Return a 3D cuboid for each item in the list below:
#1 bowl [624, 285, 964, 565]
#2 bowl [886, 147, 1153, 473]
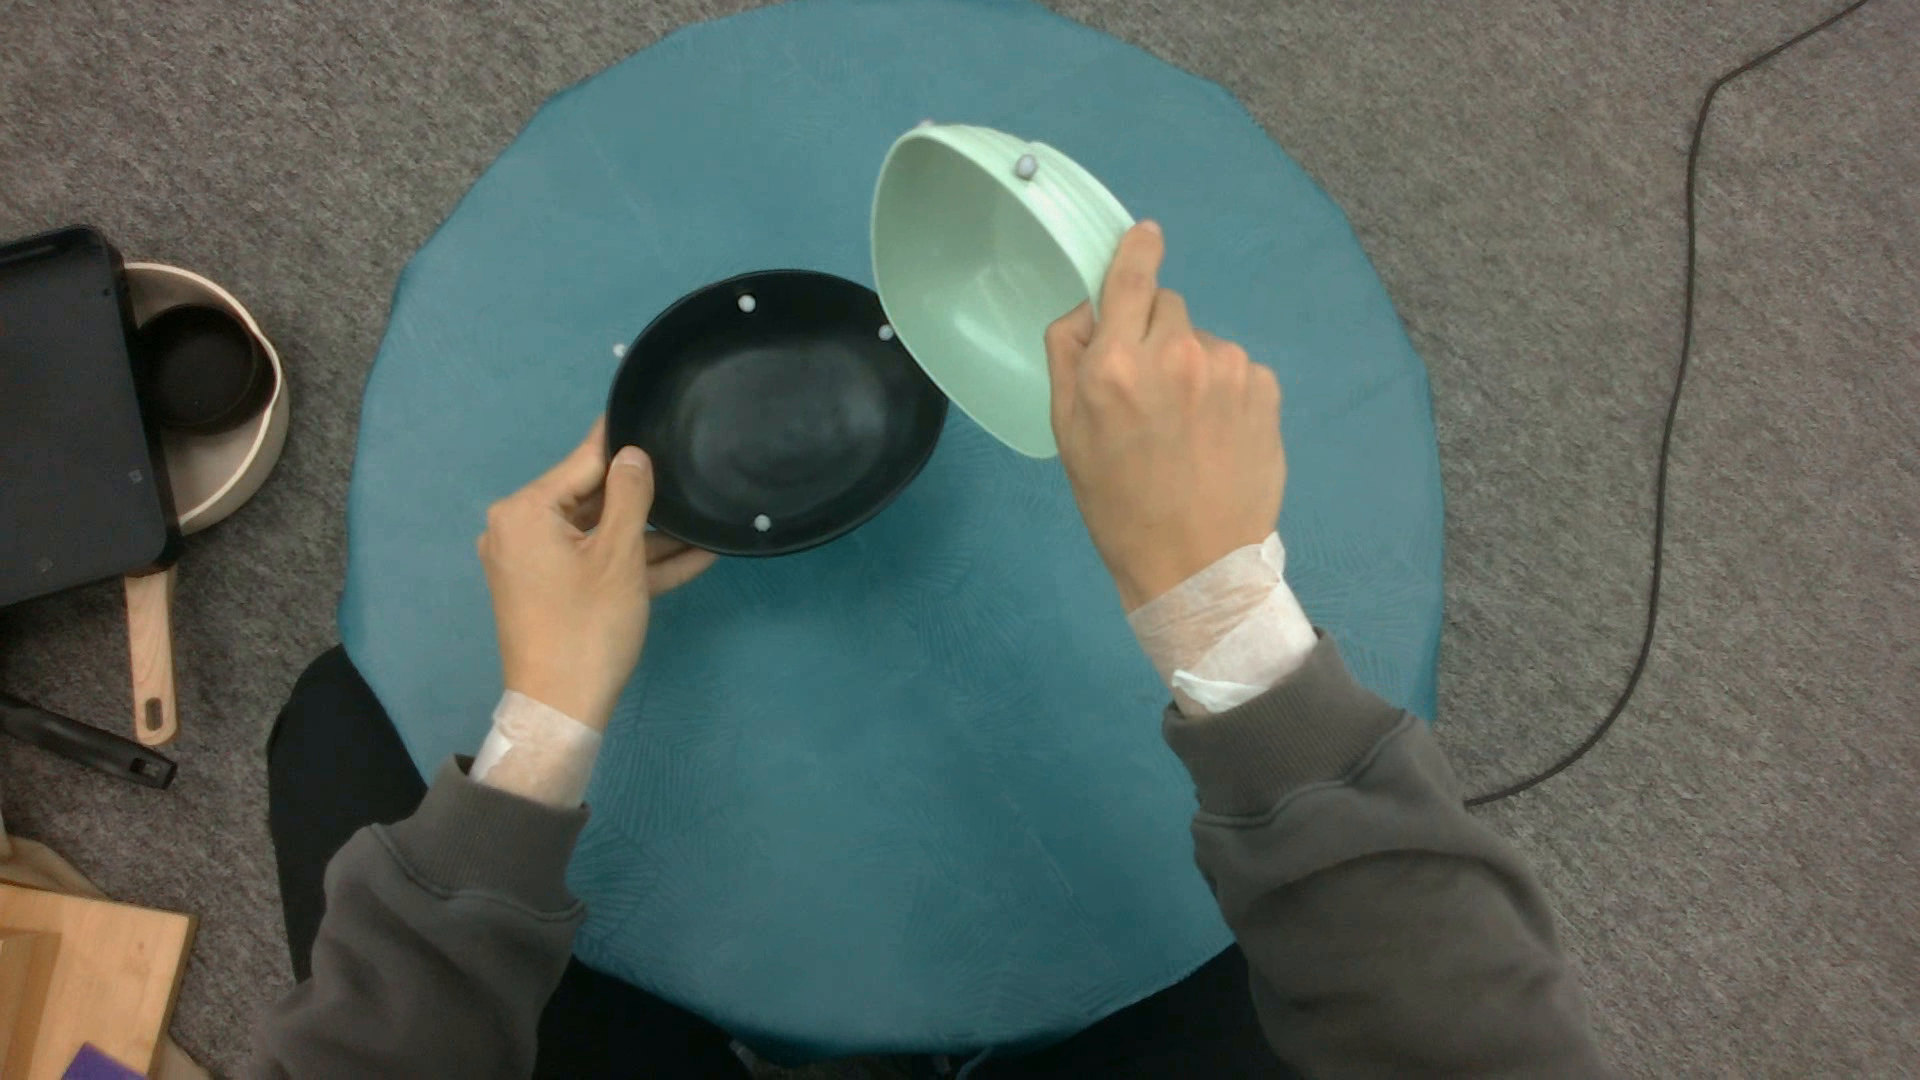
[{"bbox_3d":[-0.083,-0.054,0.695,0.170,0.066,0.137,-24,83,-13],"label":"bowl"},{"bbox_3d":[0.033,-0.109,0.609,0.059,0.151,0.151,-33,82,-26],"label":"bowl"}]
